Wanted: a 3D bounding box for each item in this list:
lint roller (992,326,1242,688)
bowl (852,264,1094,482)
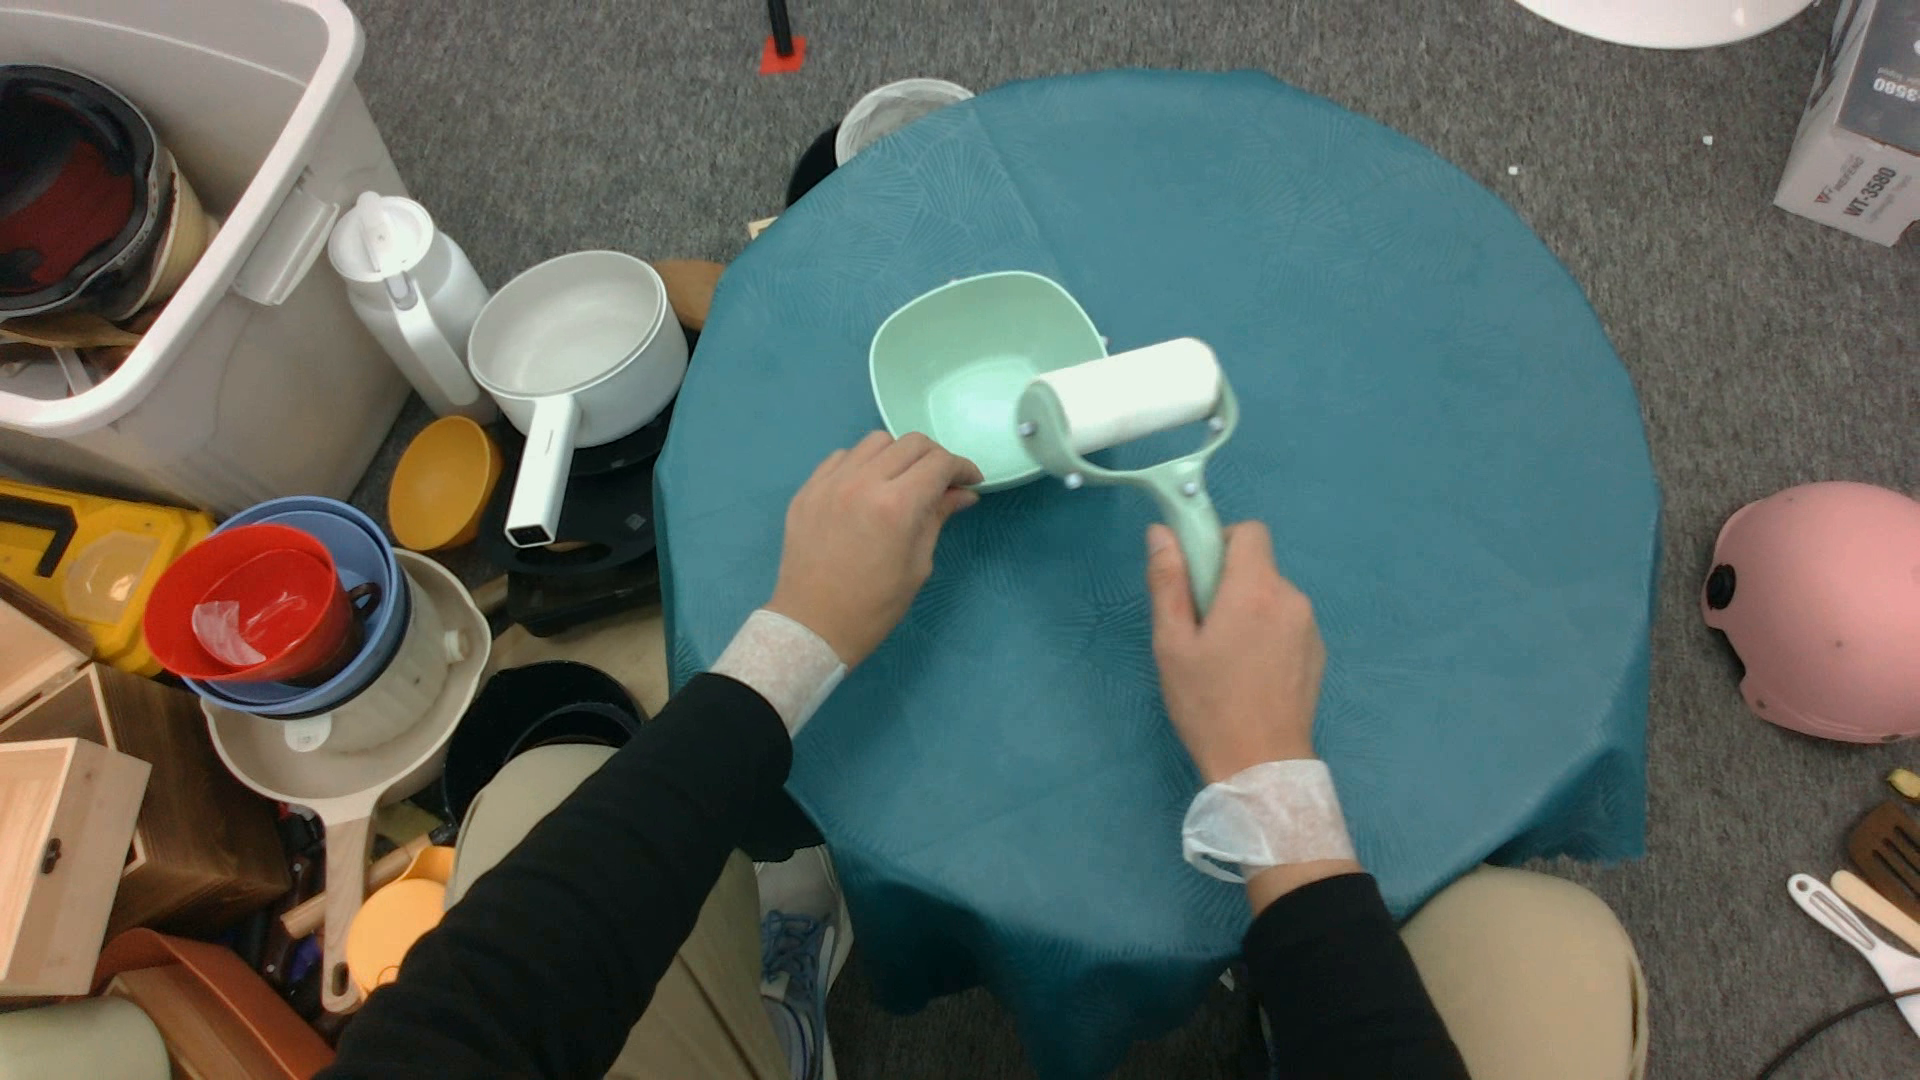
[{"bbox_3d":[0.102,-0.015,0.726,0.117,0.048,0.198,-18,77,-29],"label":"lint roller"},{"bbox_3d":[0.010,-0.091,0.830,0.151,0.058,0.152,-1,64,1],"label":"bowl"}]
